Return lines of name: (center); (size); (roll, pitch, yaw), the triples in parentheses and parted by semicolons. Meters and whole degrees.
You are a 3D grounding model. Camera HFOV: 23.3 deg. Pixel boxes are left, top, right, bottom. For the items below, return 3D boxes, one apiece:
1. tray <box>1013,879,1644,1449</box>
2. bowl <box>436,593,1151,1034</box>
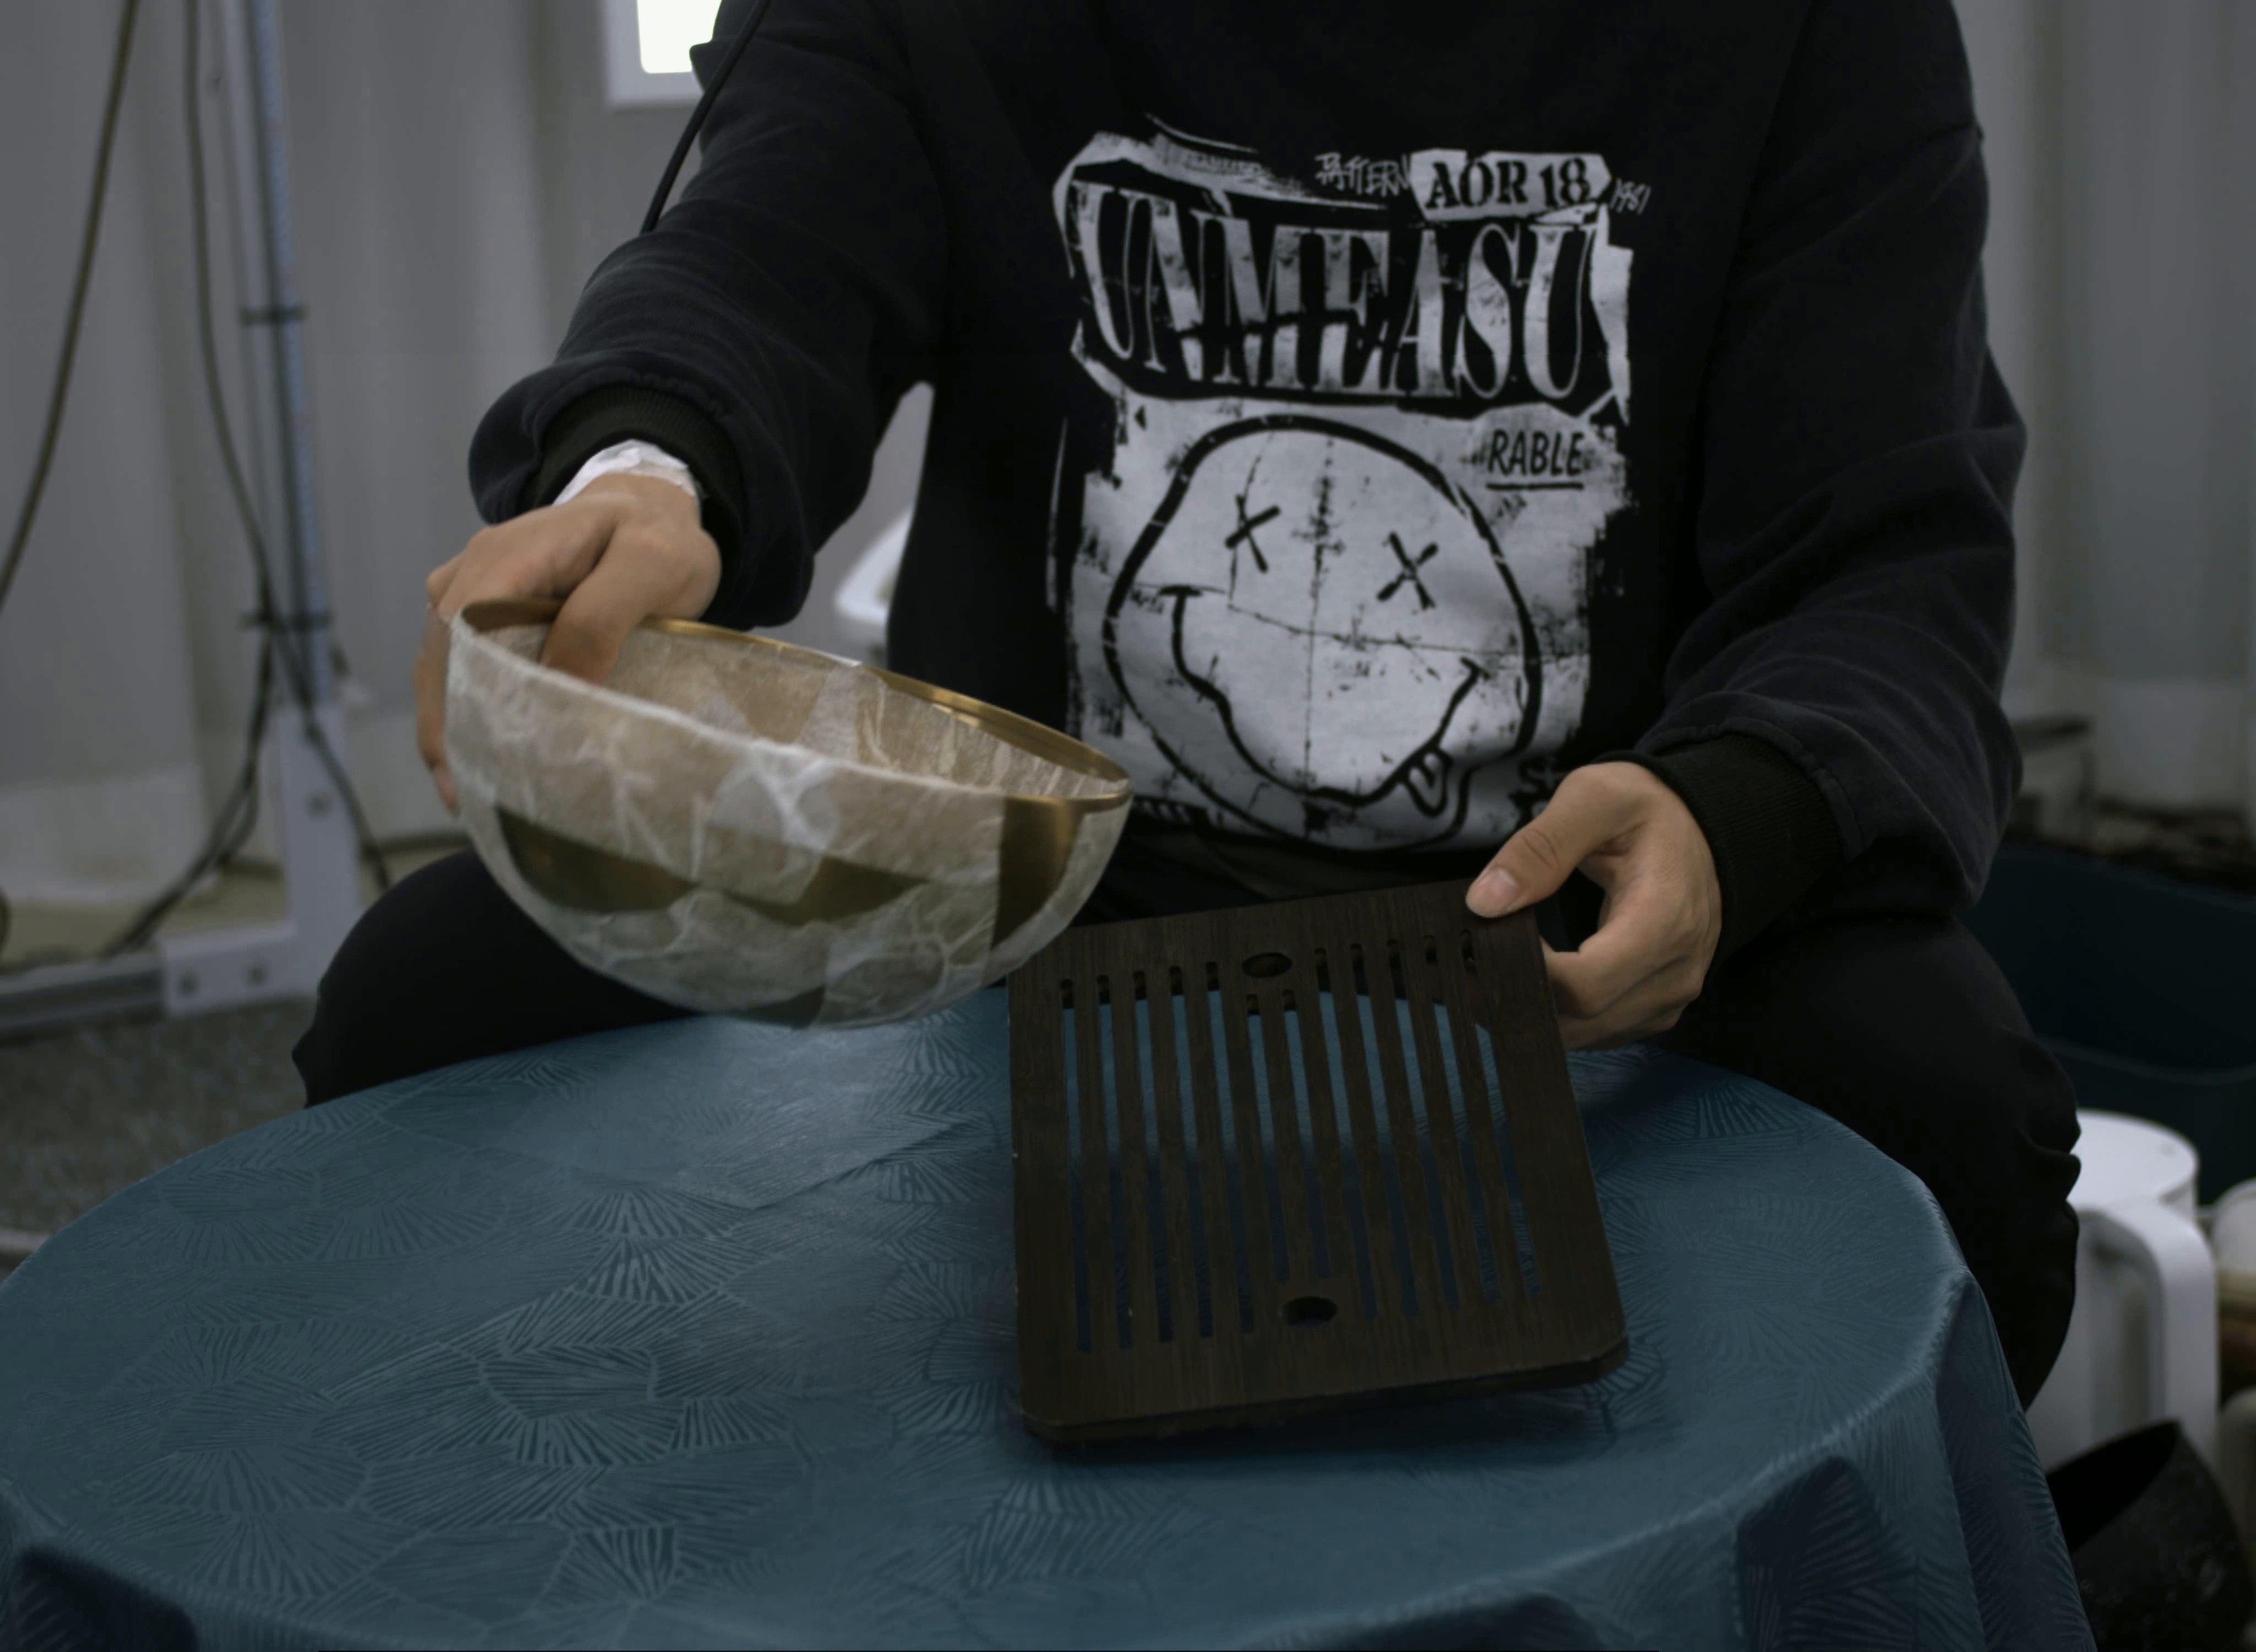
tray: (0.053, 0.097, 1.623); (0.169, 0.018, 0.309); (-7, 25, 1)
bowl: (-0.102, 0.006, 1.562); (0.214, 0.094, 0.215); (13, 9, -2)
